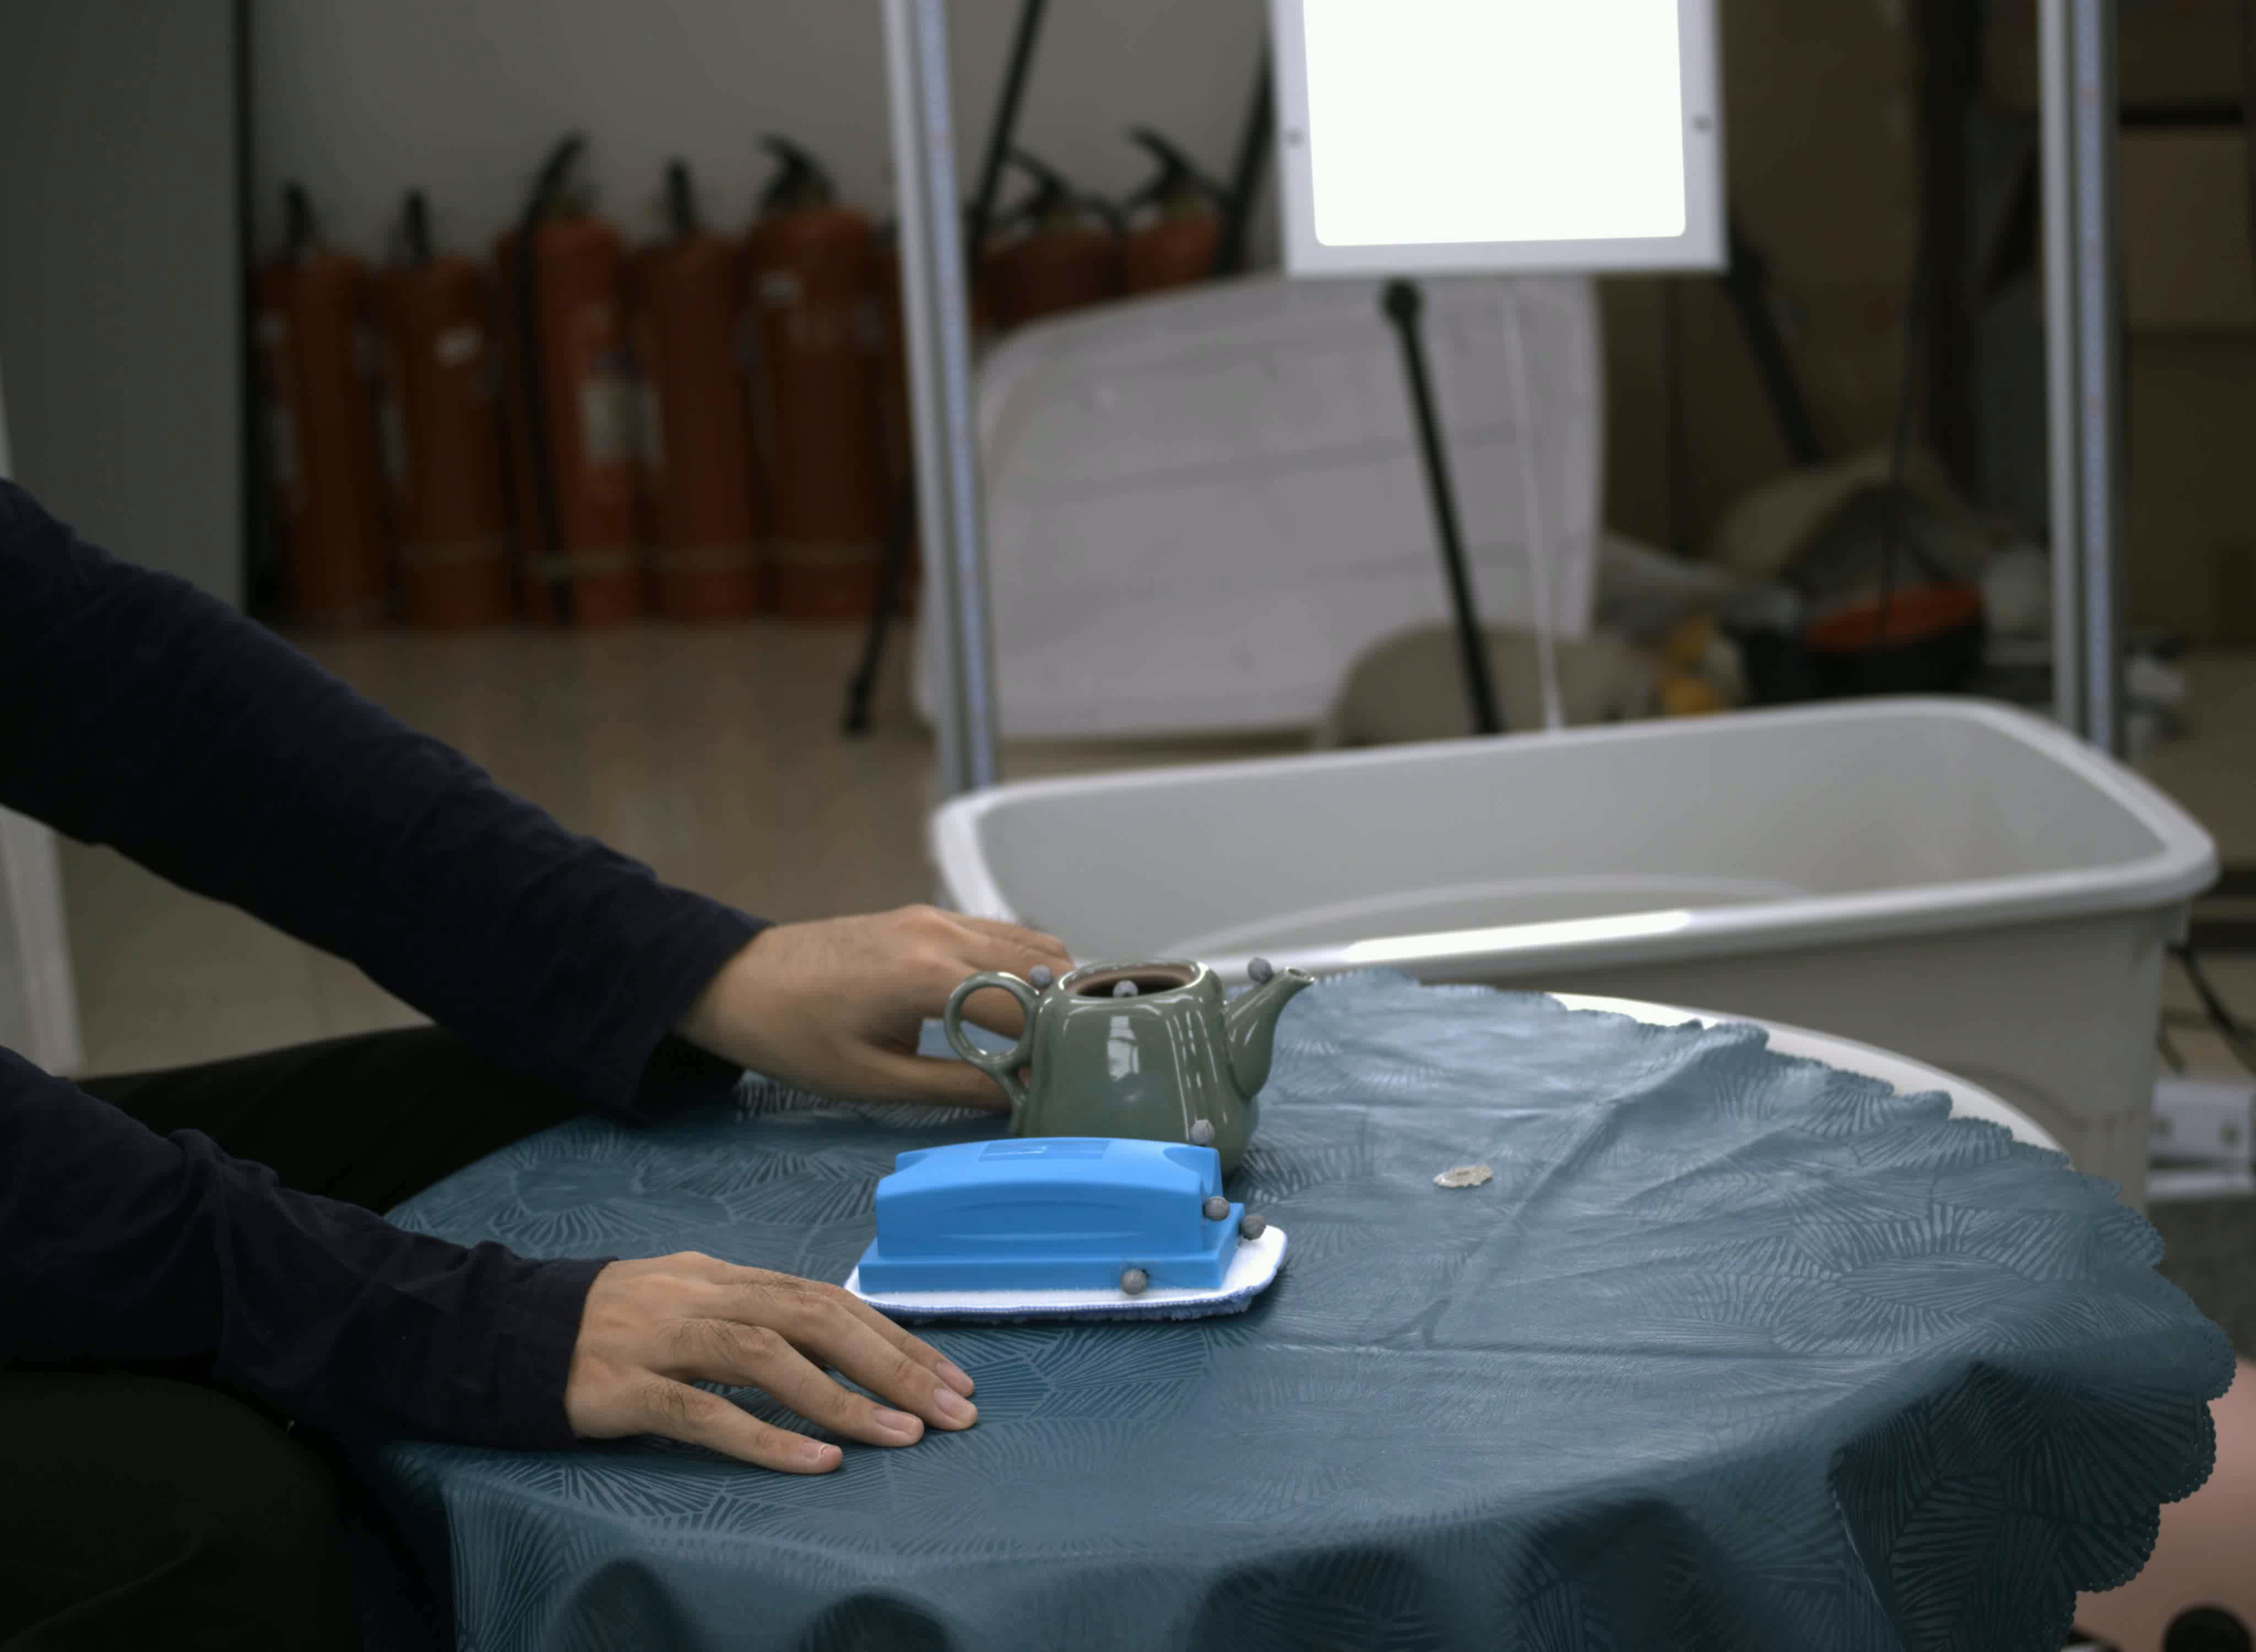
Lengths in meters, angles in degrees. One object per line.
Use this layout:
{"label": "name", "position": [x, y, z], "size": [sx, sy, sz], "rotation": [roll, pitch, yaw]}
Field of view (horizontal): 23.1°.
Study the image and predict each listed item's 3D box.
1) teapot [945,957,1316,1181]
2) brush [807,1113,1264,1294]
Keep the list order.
{"label": "teapot", "position": [0.003, 0.085, 1.914], "size": [0.133, 0.075, 0.079], "rotation": [-3, 14, 13]}
{"label": "brush", "position": [-0.030, 0.123, 1.795], "size": [0.145, 0.056, 0.083], "rotation": [1, 12, 15]}
